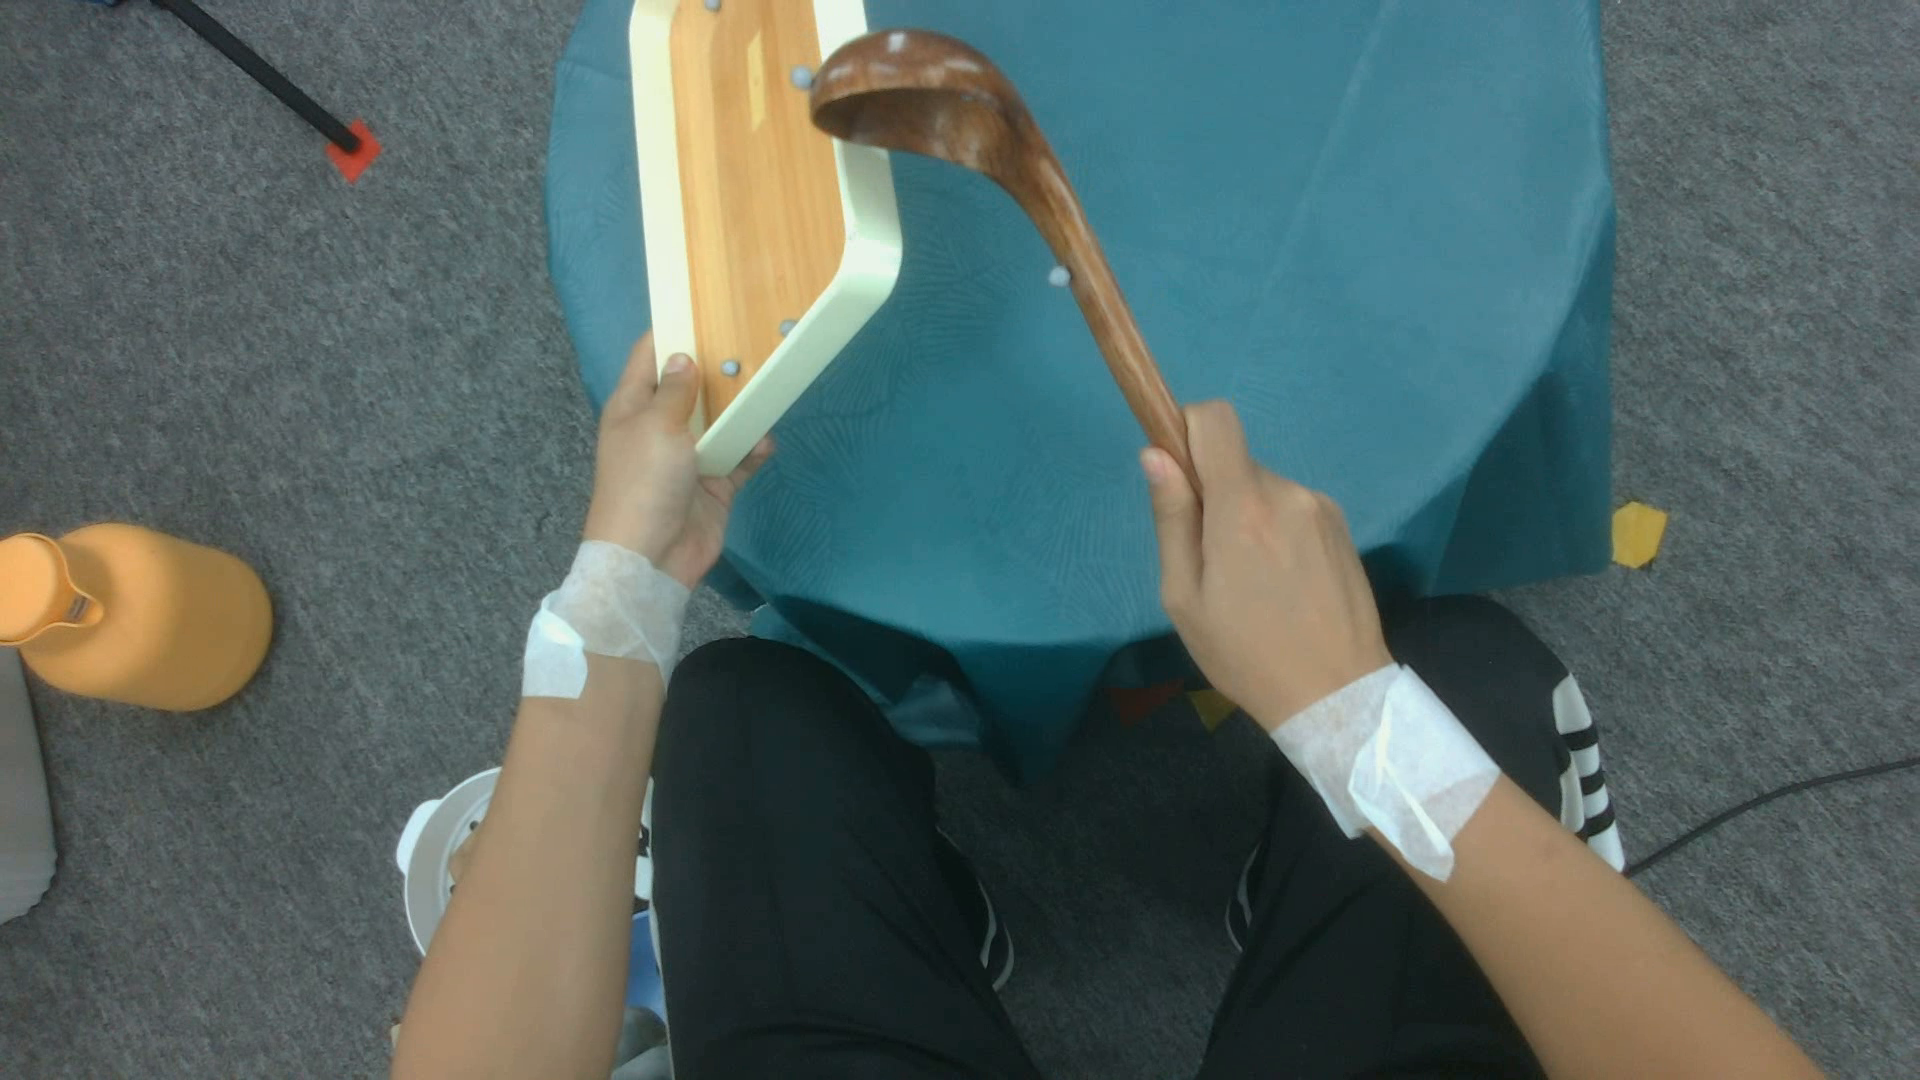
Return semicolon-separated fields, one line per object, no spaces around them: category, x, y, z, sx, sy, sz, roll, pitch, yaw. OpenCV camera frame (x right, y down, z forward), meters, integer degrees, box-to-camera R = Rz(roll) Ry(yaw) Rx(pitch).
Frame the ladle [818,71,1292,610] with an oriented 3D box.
ladle;0.041;-0.068;0.555;0.077;0.082;0.274;-34;102;-9

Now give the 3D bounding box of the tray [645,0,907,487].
tray;-0.101;-0.195;0.679;0.027;0.190;0.301;7;61;-33
